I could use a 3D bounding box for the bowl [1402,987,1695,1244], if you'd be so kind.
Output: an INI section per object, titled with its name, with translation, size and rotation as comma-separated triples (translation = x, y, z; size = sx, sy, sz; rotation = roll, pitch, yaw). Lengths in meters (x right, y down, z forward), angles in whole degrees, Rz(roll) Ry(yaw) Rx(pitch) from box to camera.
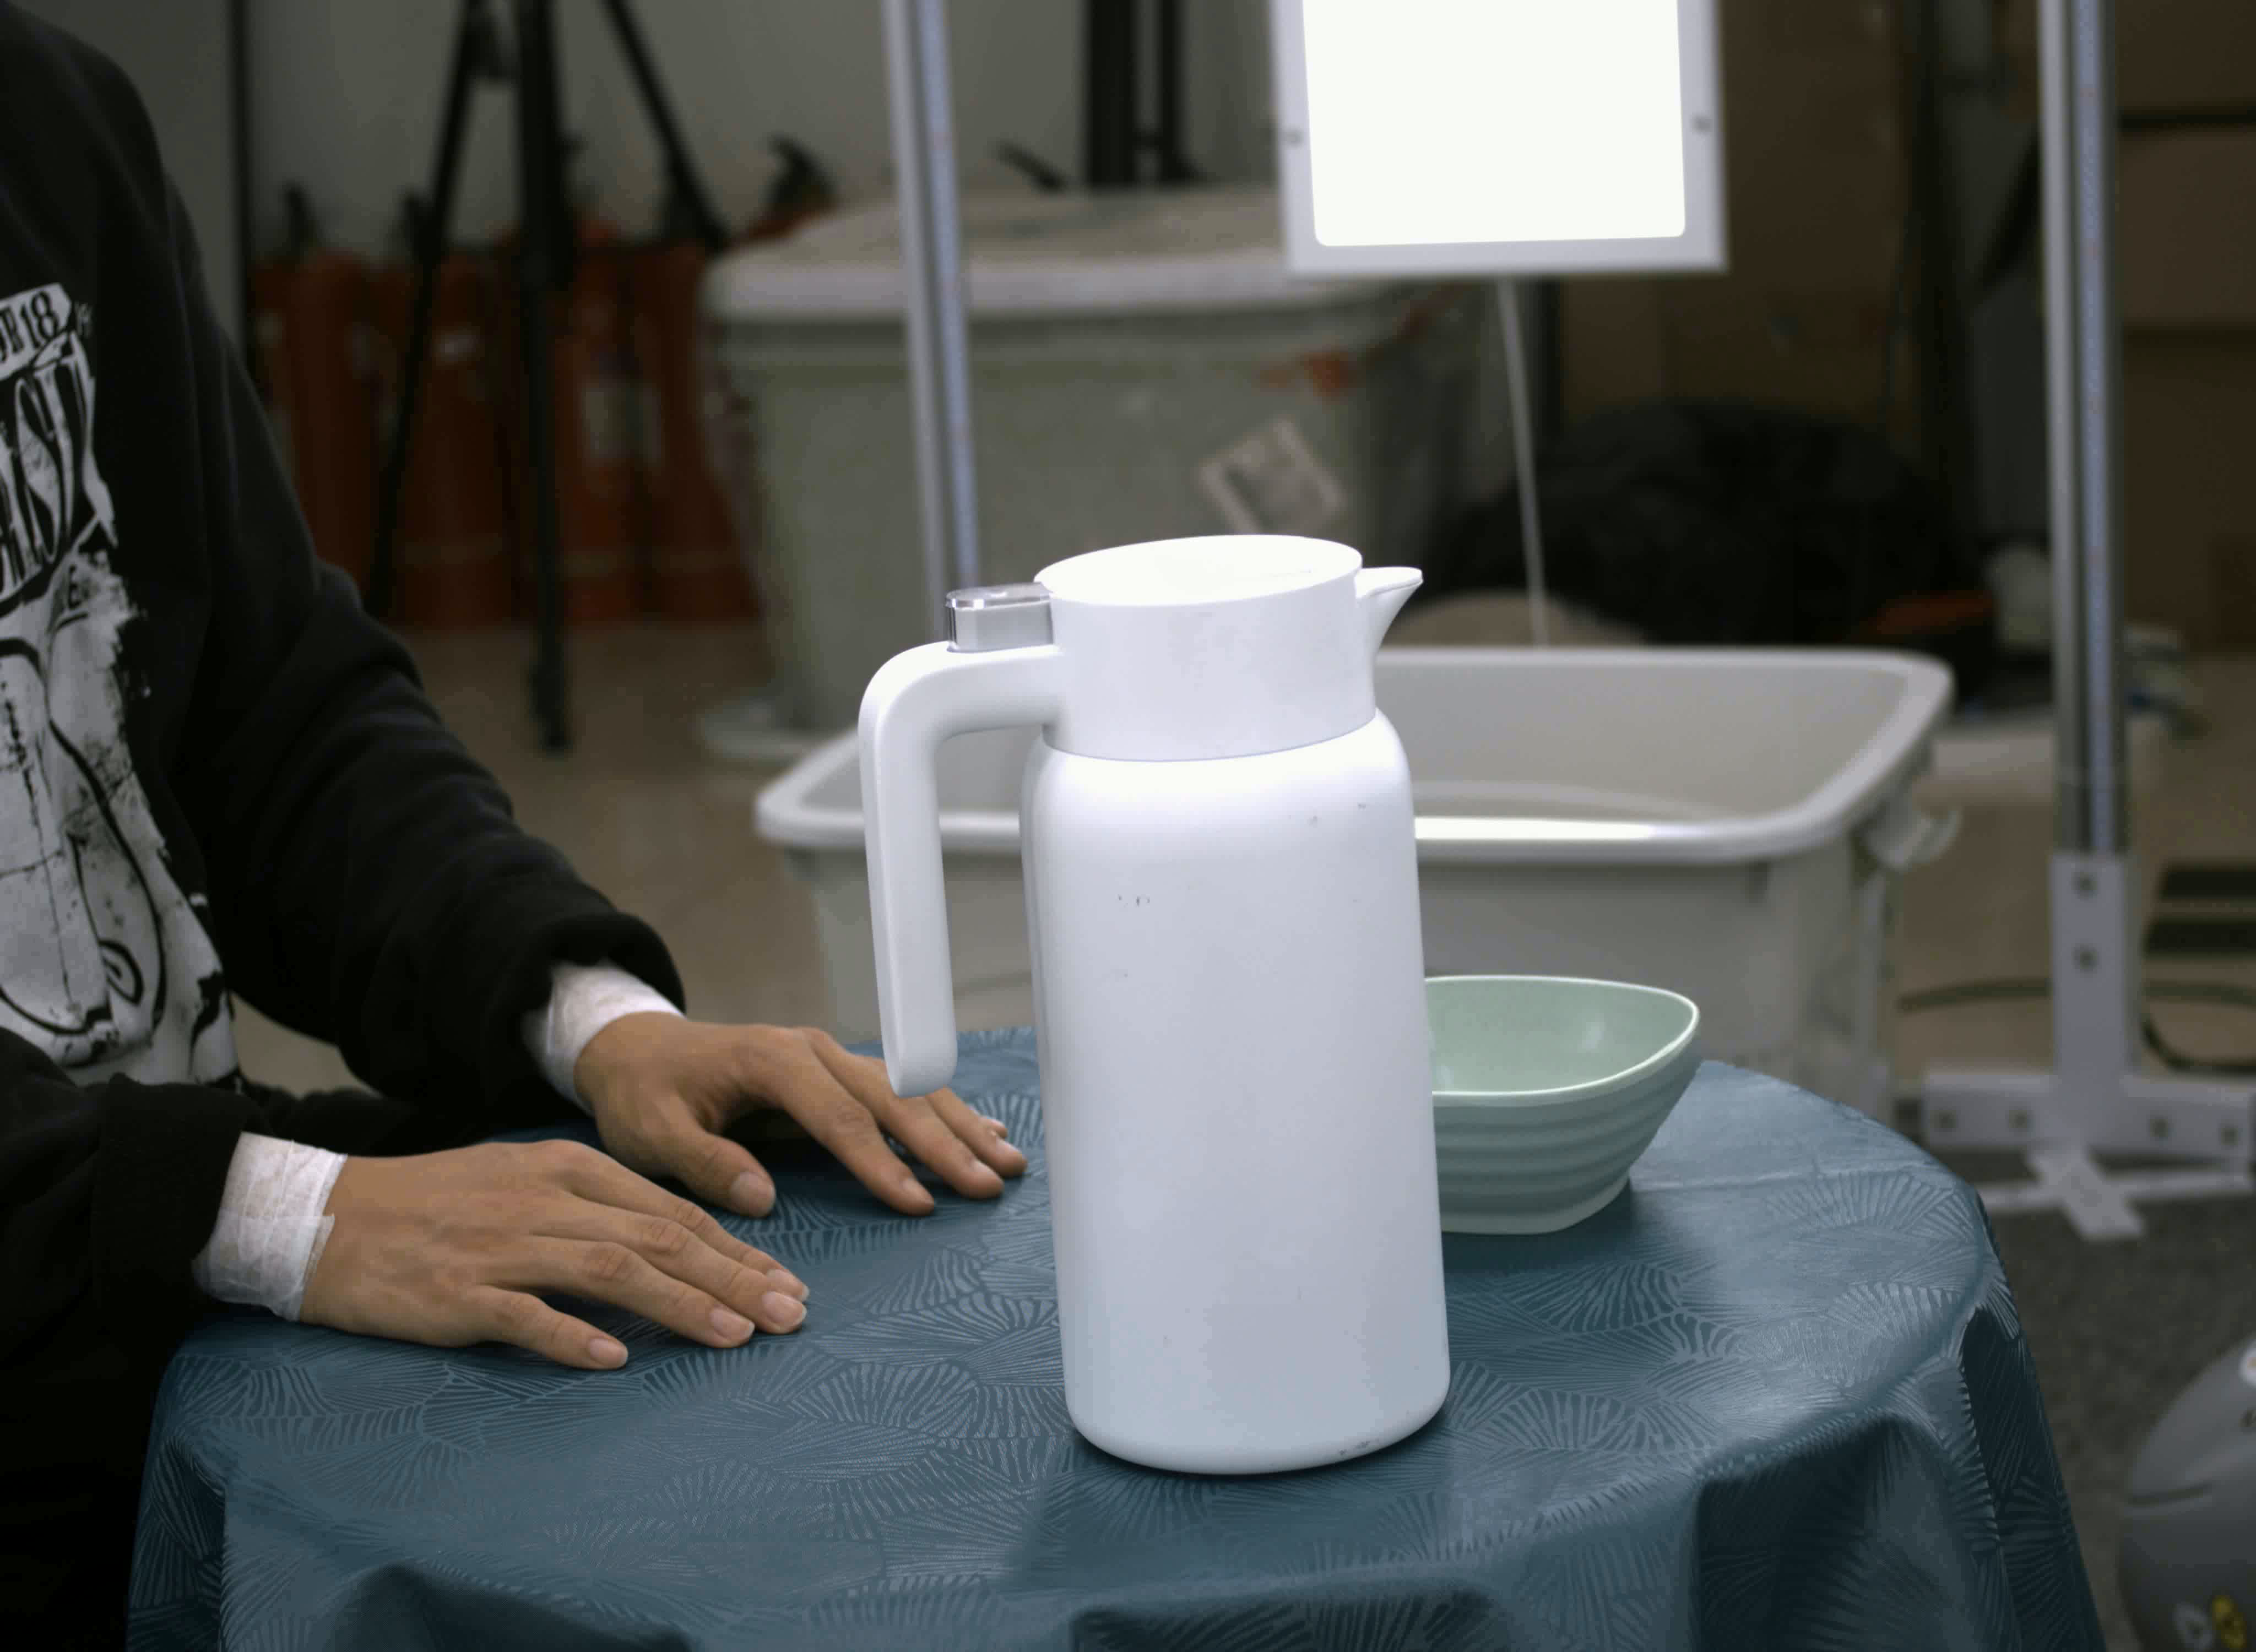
[bowl]
translation = 0.121, 0.100, 1.852
size = 0.151, 0.059, 0.151
rotation = -5, 13, 0

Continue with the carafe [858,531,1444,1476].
[carafe]
translation = 0.013, 0.053, 1.632
size = 0.171, 0.270, 0.125
rotation = -7, 16, -11
